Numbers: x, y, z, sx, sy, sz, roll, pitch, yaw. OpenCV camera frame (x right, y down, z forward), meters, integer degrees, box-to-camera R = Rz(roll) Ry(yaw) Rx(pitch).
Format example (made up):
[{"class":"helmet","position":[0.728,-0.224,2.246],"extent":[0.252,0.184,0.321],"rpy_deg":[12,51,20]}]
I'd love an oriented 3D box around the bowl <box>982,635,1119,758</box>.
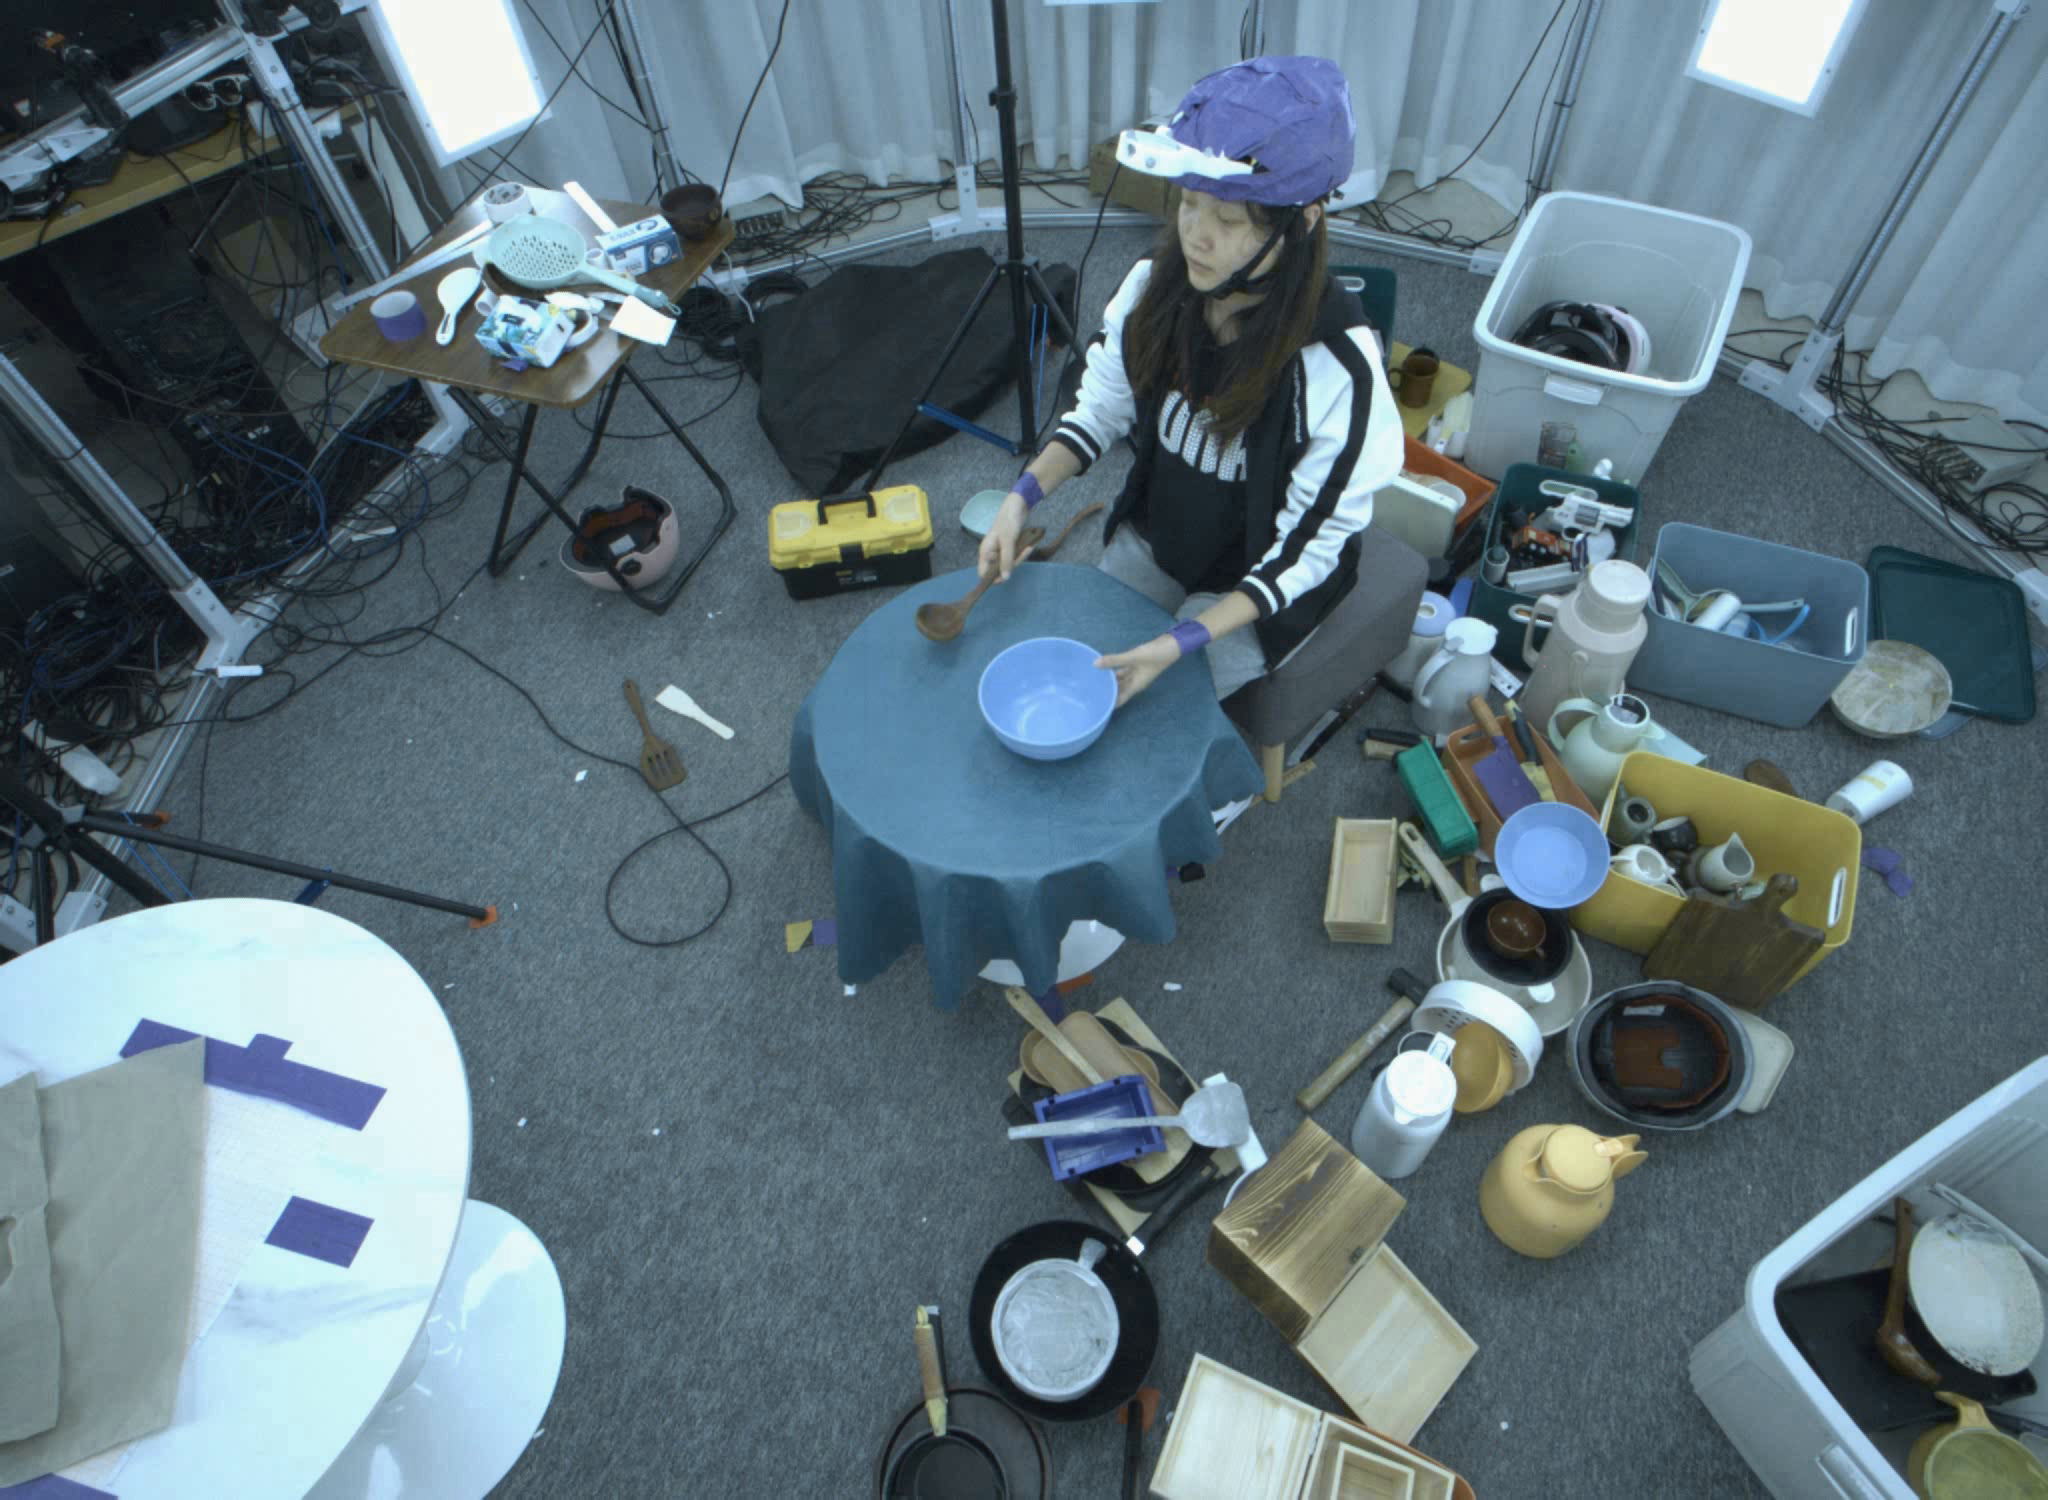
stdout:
[{"class":"bowl","position":[0.044,-0.061,1.772],"extent":[0.195,0.097,0.194],"rpy_deg":[-4,54,7]}]

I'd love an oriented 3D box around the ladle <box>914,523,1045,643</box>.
[{"class":"ladle","position":[-0.065,-0.264,1.878],"extent":[0.076,0.065,0.260],"rpy_deg":[44,85,10]}]
